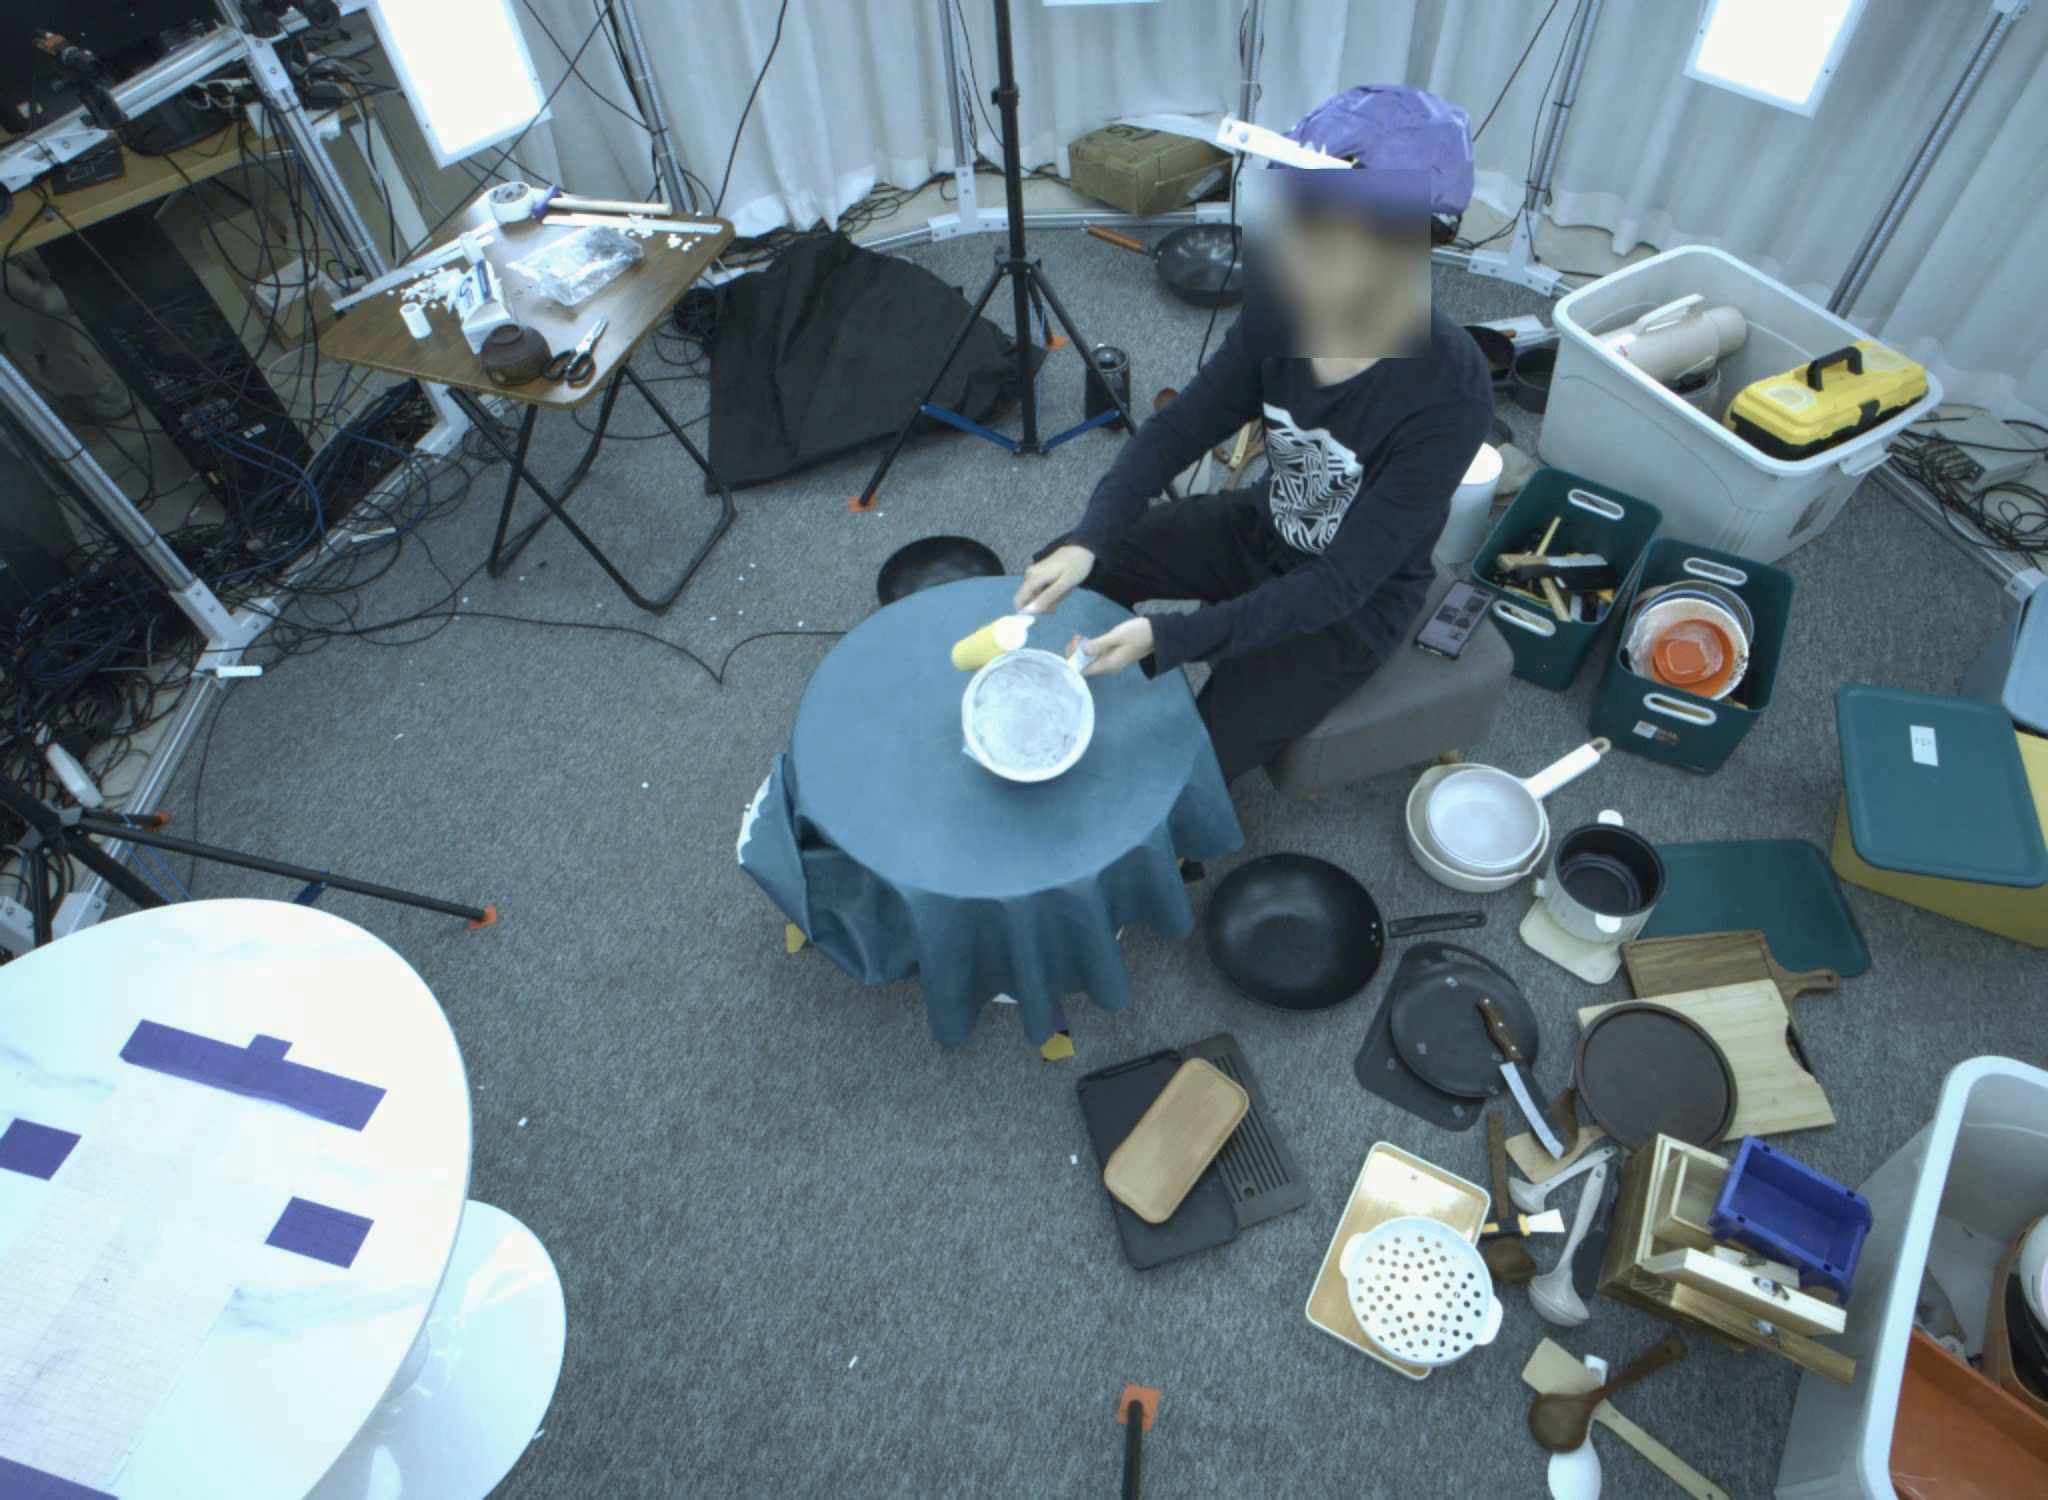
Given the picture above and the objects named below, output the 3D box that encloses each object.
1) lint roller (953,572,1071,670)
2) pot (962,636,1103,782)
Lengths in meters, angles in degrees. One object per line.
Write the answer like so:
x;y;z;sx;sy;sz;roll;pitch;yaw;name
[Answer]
-0.004;-0.199;1.741;0.052;0.171;0.192;44;66;-16;lint roller
0.022;-0.067;1.707;0.179;0.136;0.234;42;90;-5;pot
